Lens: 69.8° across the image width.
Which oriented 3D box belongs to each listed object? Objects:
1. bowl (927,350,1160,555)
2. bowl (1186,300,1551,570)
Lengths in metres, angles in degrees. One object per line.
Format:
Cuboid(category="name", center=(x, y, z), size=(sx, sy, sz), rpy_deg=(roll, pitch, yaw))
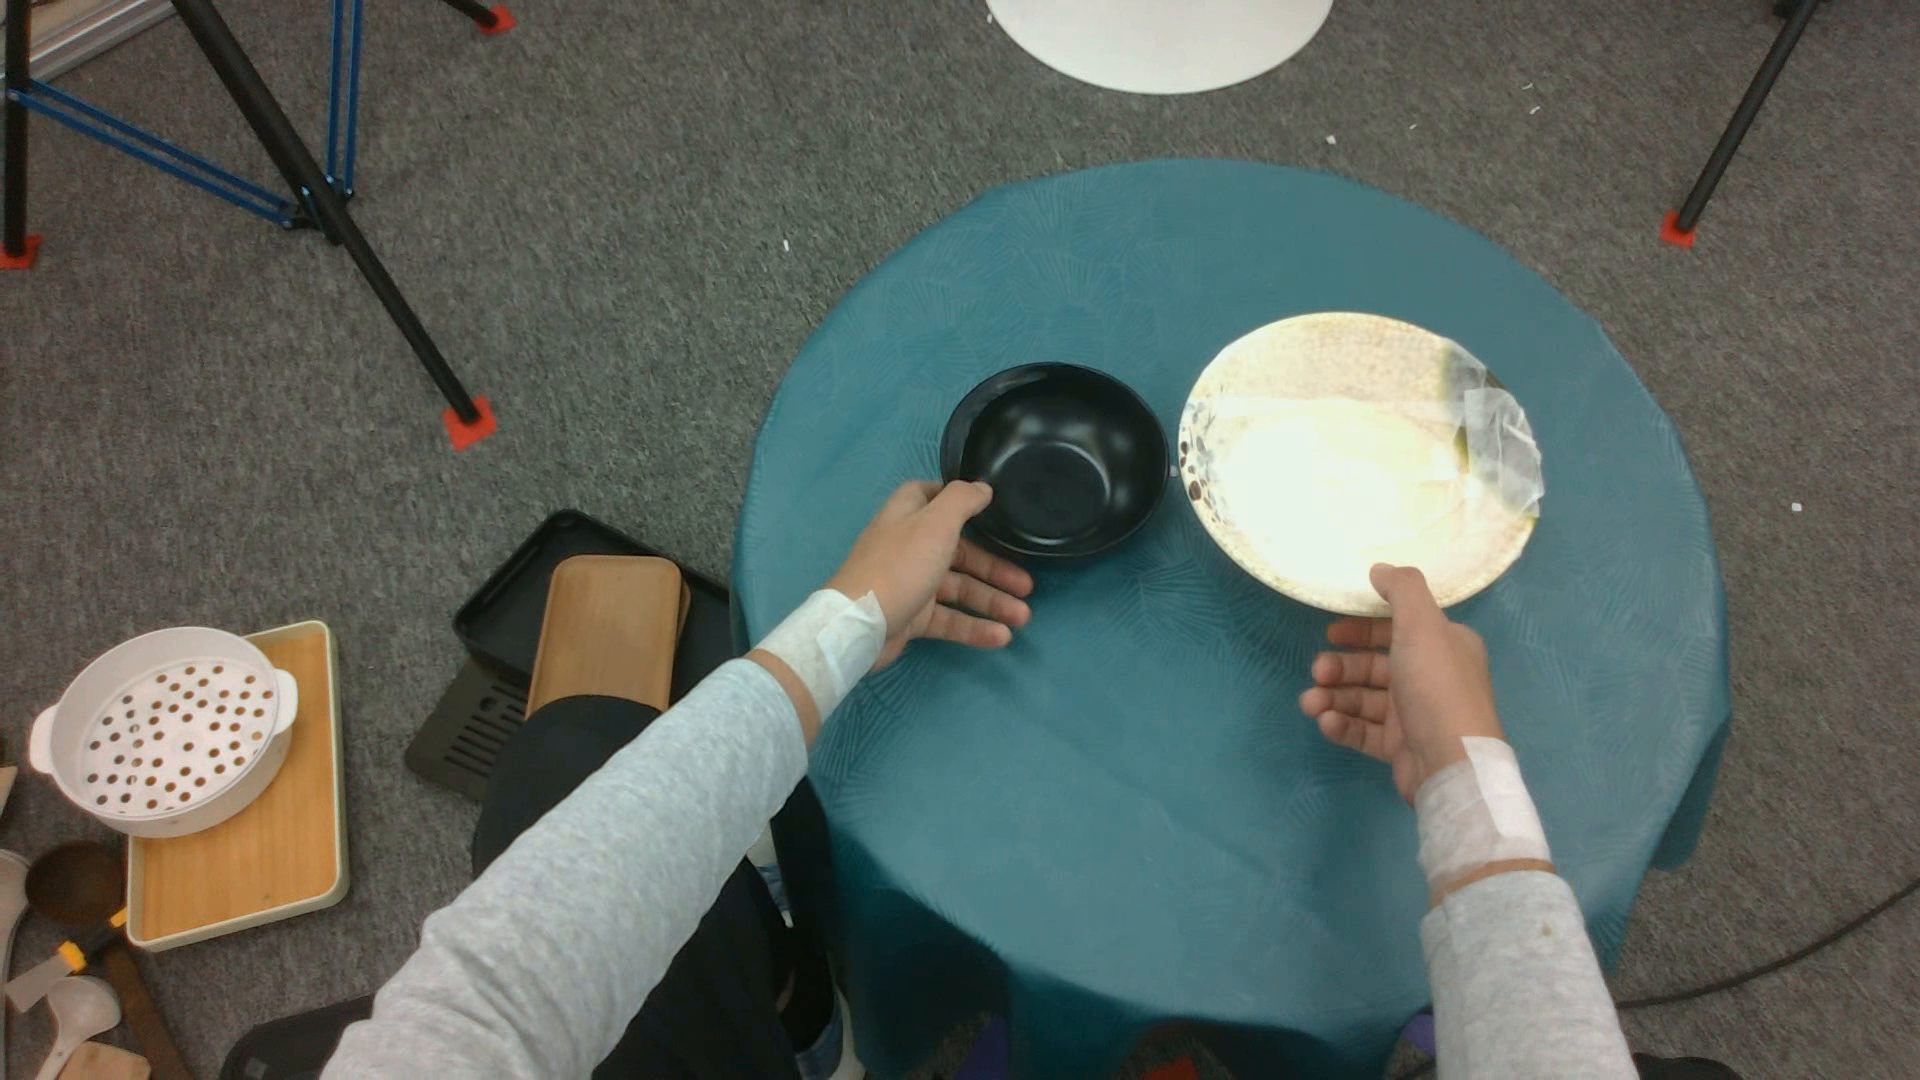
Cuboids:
Cuboid(category="bowl", center=(0.051, -0.046, 0.841), size=(0.140, 0.049, 0.140), rpy_deg=(-1, 61, 2))
Cuboid(category="bowl", center=(0.230, -0.045, 0.810), size=(0.204, 0.077, 0.205), rpy_deg=(0, 53, 0))
